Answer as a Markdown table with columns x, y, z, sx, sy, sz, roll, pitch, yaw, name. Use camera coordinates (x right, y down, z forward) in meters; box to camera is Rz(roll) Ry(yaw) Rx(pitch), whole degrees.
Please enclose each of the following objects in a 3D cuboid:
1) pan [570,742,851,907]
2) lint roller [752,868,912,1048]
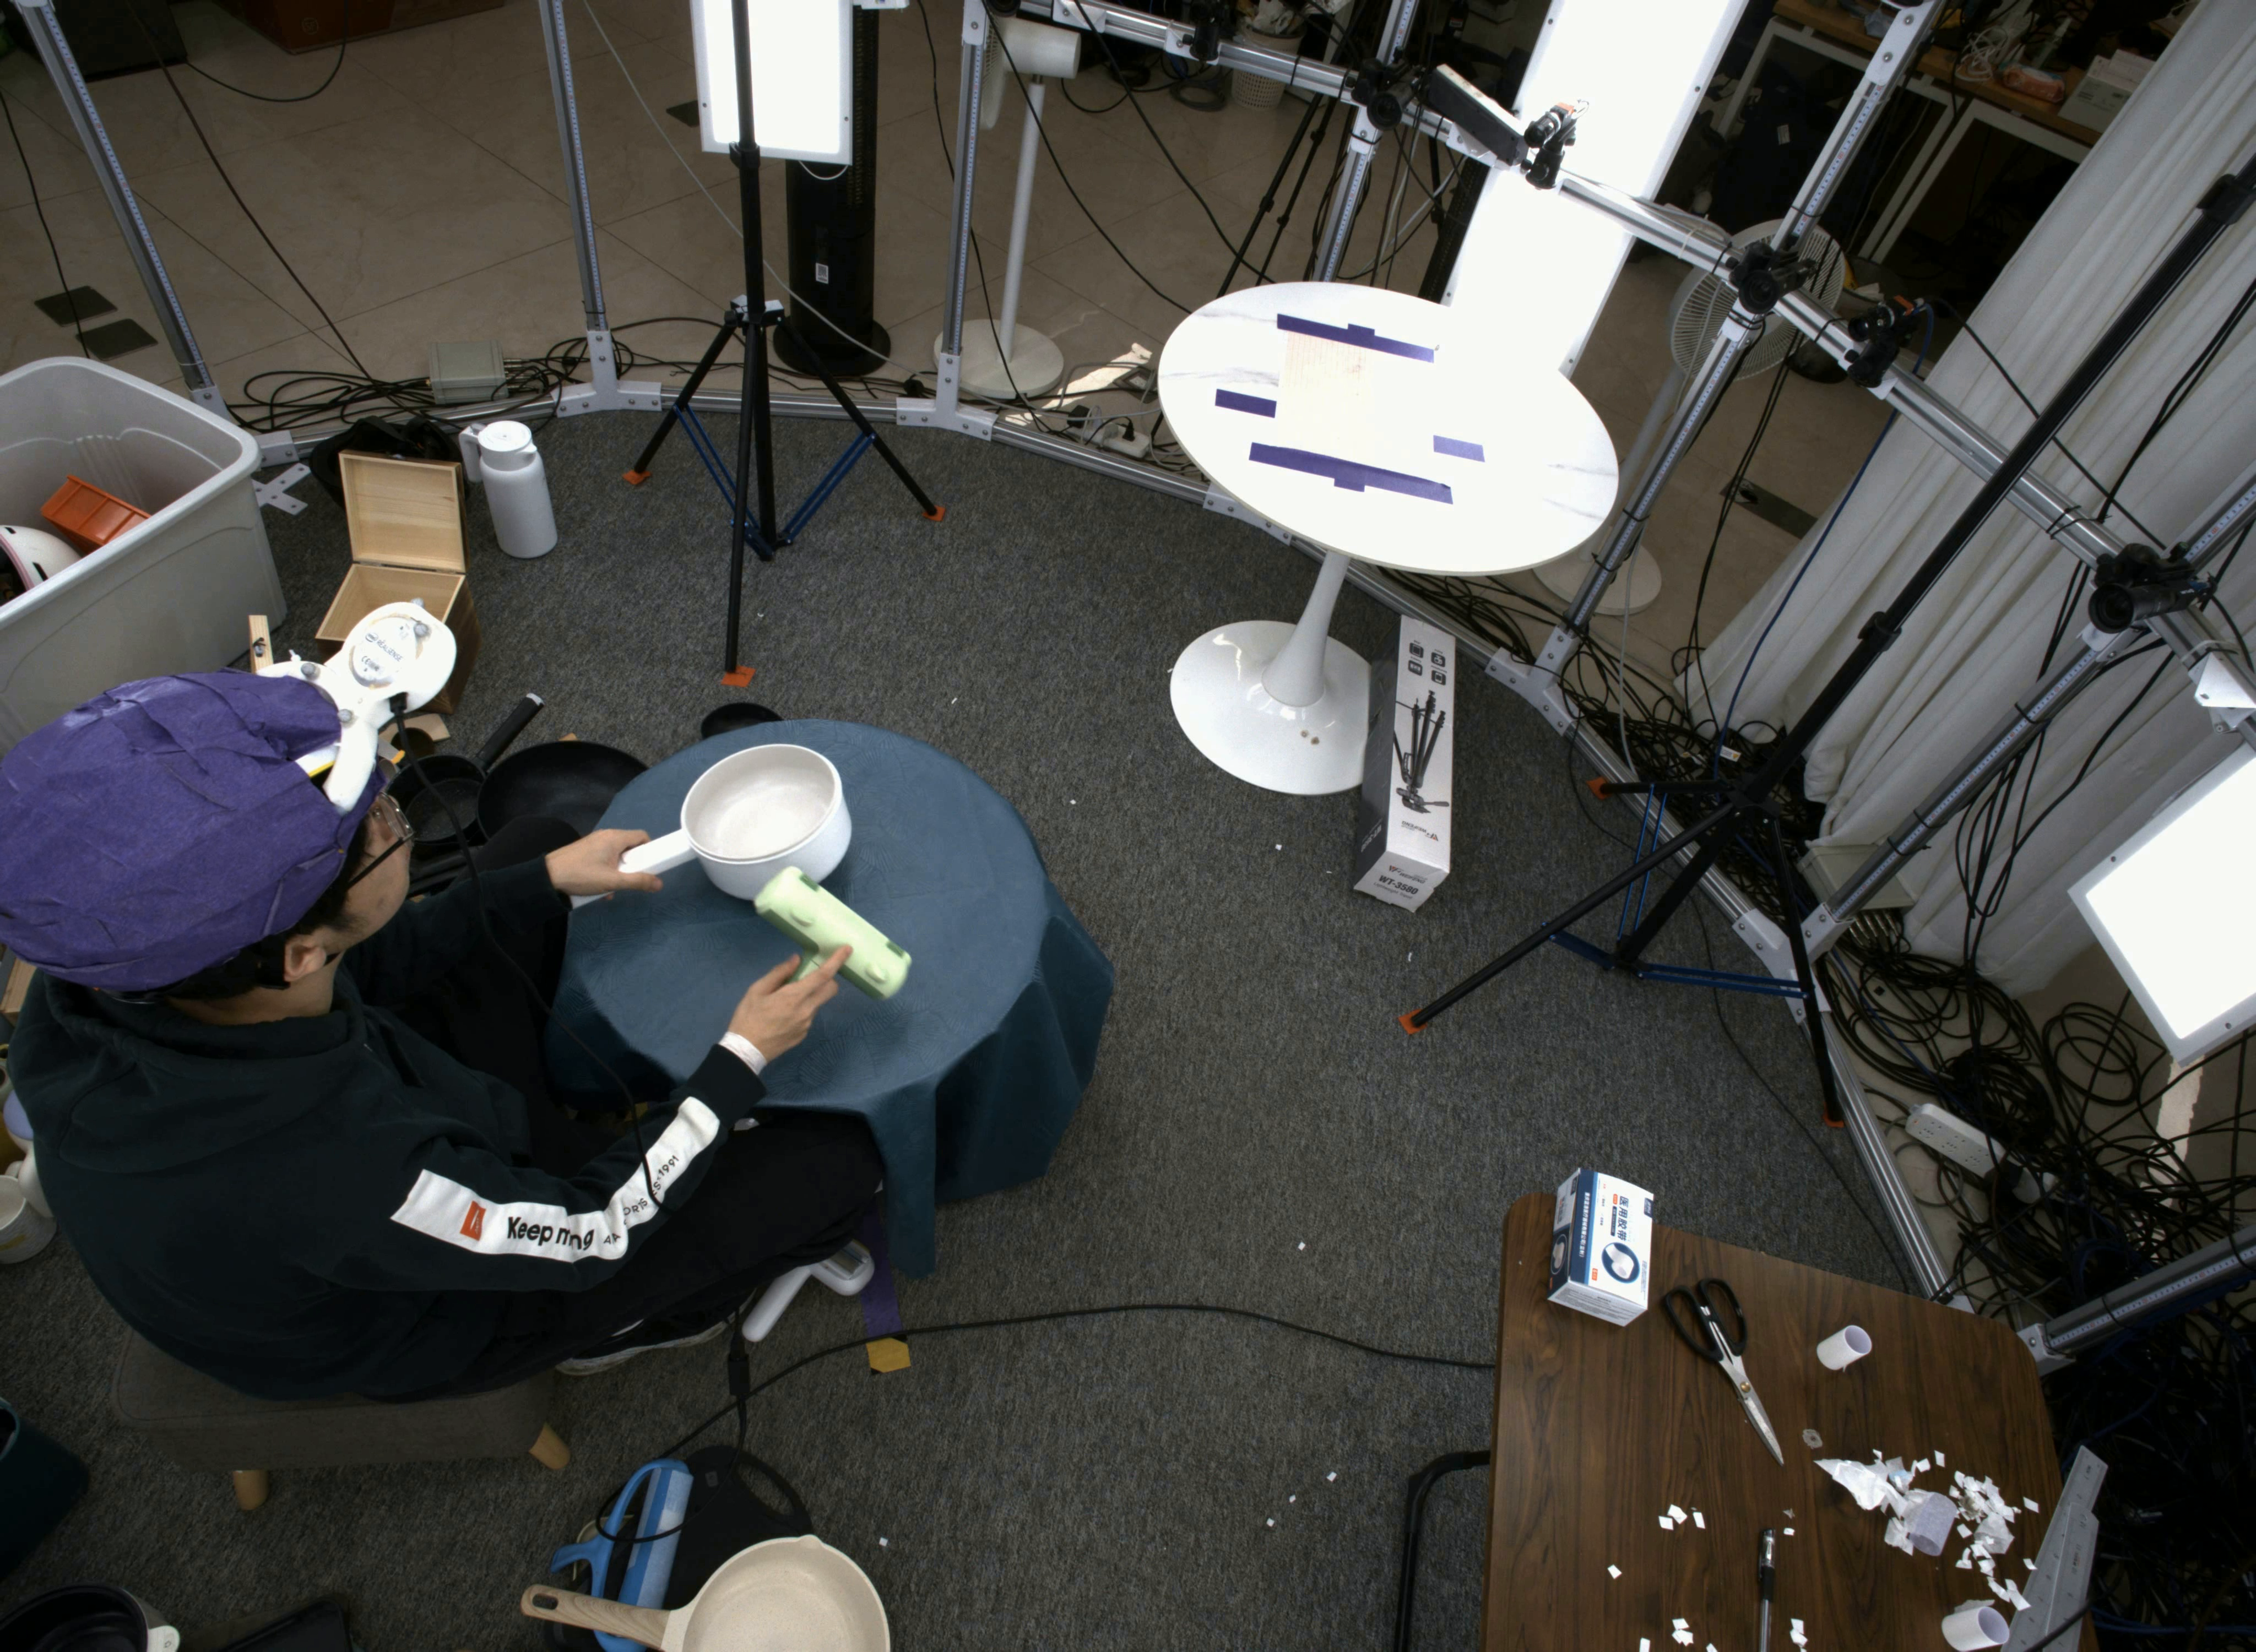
| x | y | z | sx | sy | sz | roll | pitch | yaw | name |
| --- | --- | --- | --- | --- | --- | --- | --- | --- | --- |
| -0.519 | 0.029 | 1.615 | 0.355 | 0.105 | 0.195 | -25 | 54 | -16 | pan |
| -0.364 | 0.175 | 1.489 | 0.205 | 0.079 | 0.183 | 45 | 64 | -30 | lint roller |
